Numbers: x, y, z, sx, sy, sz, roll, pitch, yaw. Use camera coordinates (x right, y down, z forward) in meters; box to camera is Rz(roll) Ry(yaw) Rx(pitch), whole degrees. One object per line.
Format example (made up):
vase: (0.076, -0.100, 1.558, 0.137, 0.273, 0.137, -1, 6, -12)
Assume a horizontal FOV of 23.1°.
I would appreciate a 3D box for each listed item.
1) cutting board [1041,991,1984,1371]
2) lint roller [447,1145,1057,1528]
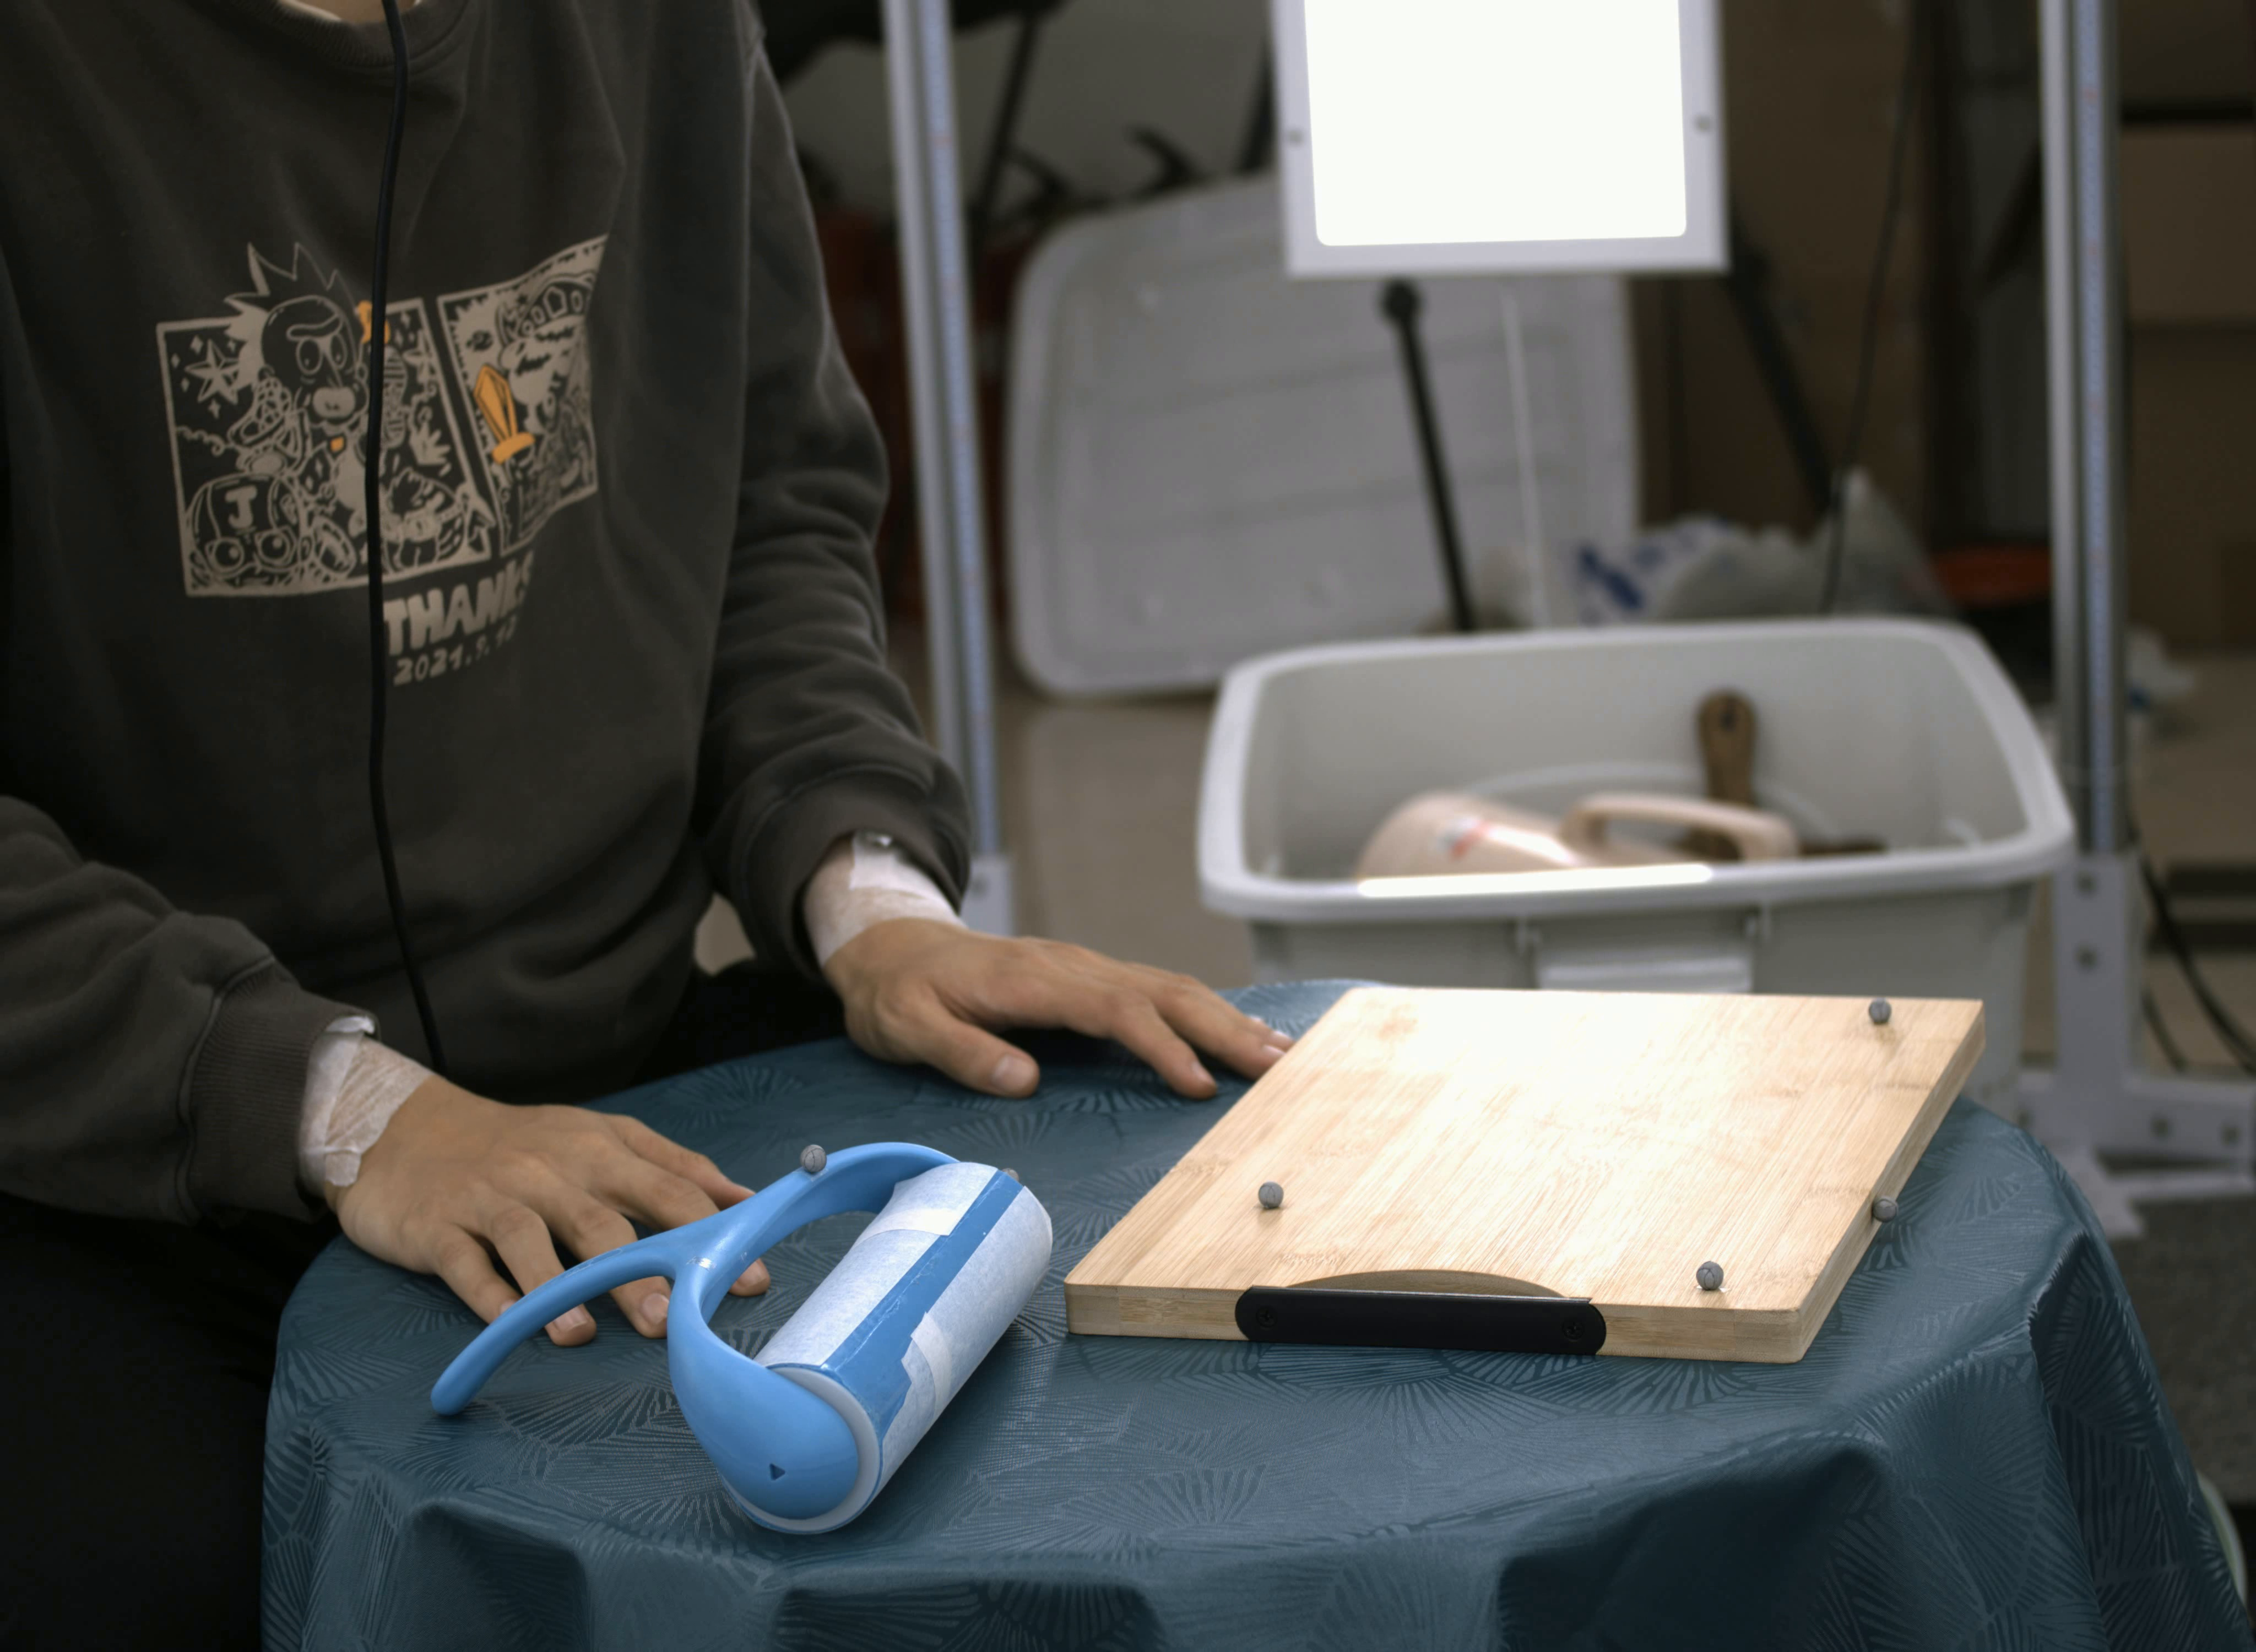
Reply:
cutting board: (0.142, 0.115, 1.860, 0.254, 0.023, 0.343, -1, 14, 19)
lint roller: (-0.127, 0.156, 1.703, 0.181, 0.068, 0.226, -2, 15, 12)
